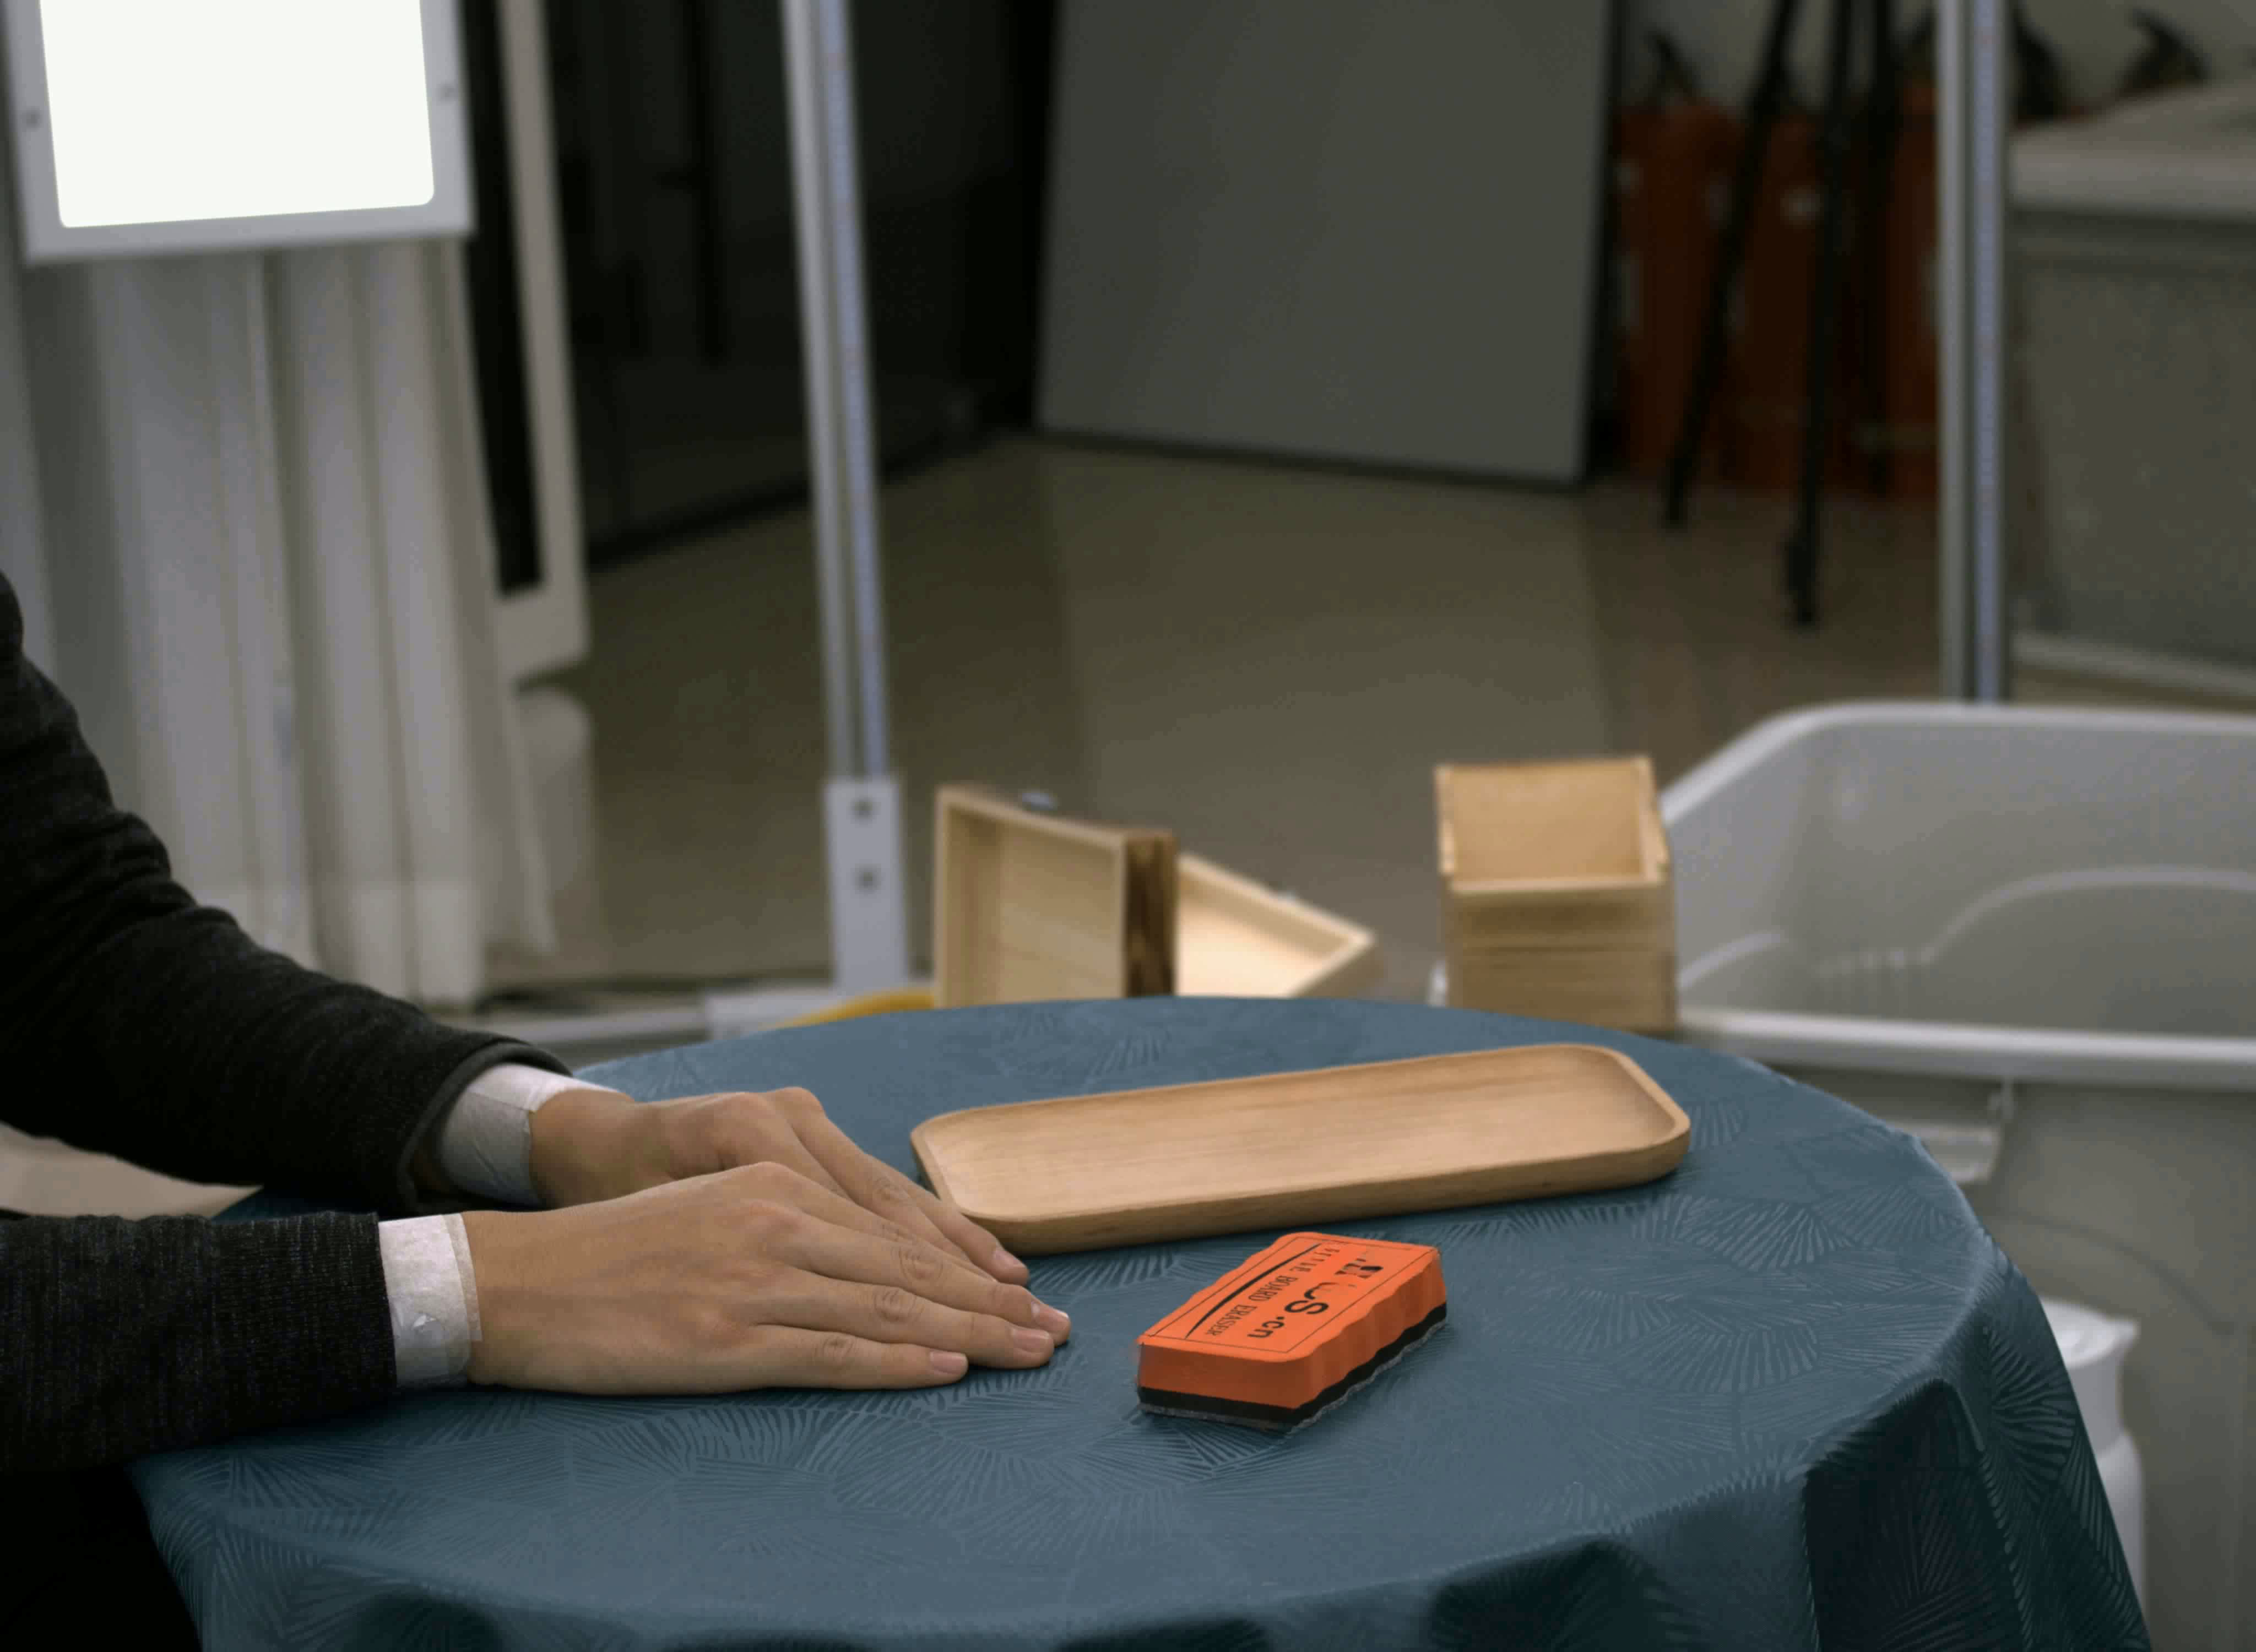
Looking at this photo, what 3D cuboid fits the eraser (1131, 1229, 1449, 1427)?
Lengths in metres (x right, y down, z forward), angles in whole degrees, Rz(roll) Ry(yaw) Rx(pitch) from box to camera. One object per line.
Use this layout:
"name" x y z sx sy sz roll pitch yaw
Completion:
"eraser" 0.049 0.148 1.594 0.059 0.023 0.106 3 16 31

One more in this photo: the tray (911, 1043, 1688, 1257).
"tray" 0.056 0.106 1.777 0.246 0.023 0.131 -7 12 -7
